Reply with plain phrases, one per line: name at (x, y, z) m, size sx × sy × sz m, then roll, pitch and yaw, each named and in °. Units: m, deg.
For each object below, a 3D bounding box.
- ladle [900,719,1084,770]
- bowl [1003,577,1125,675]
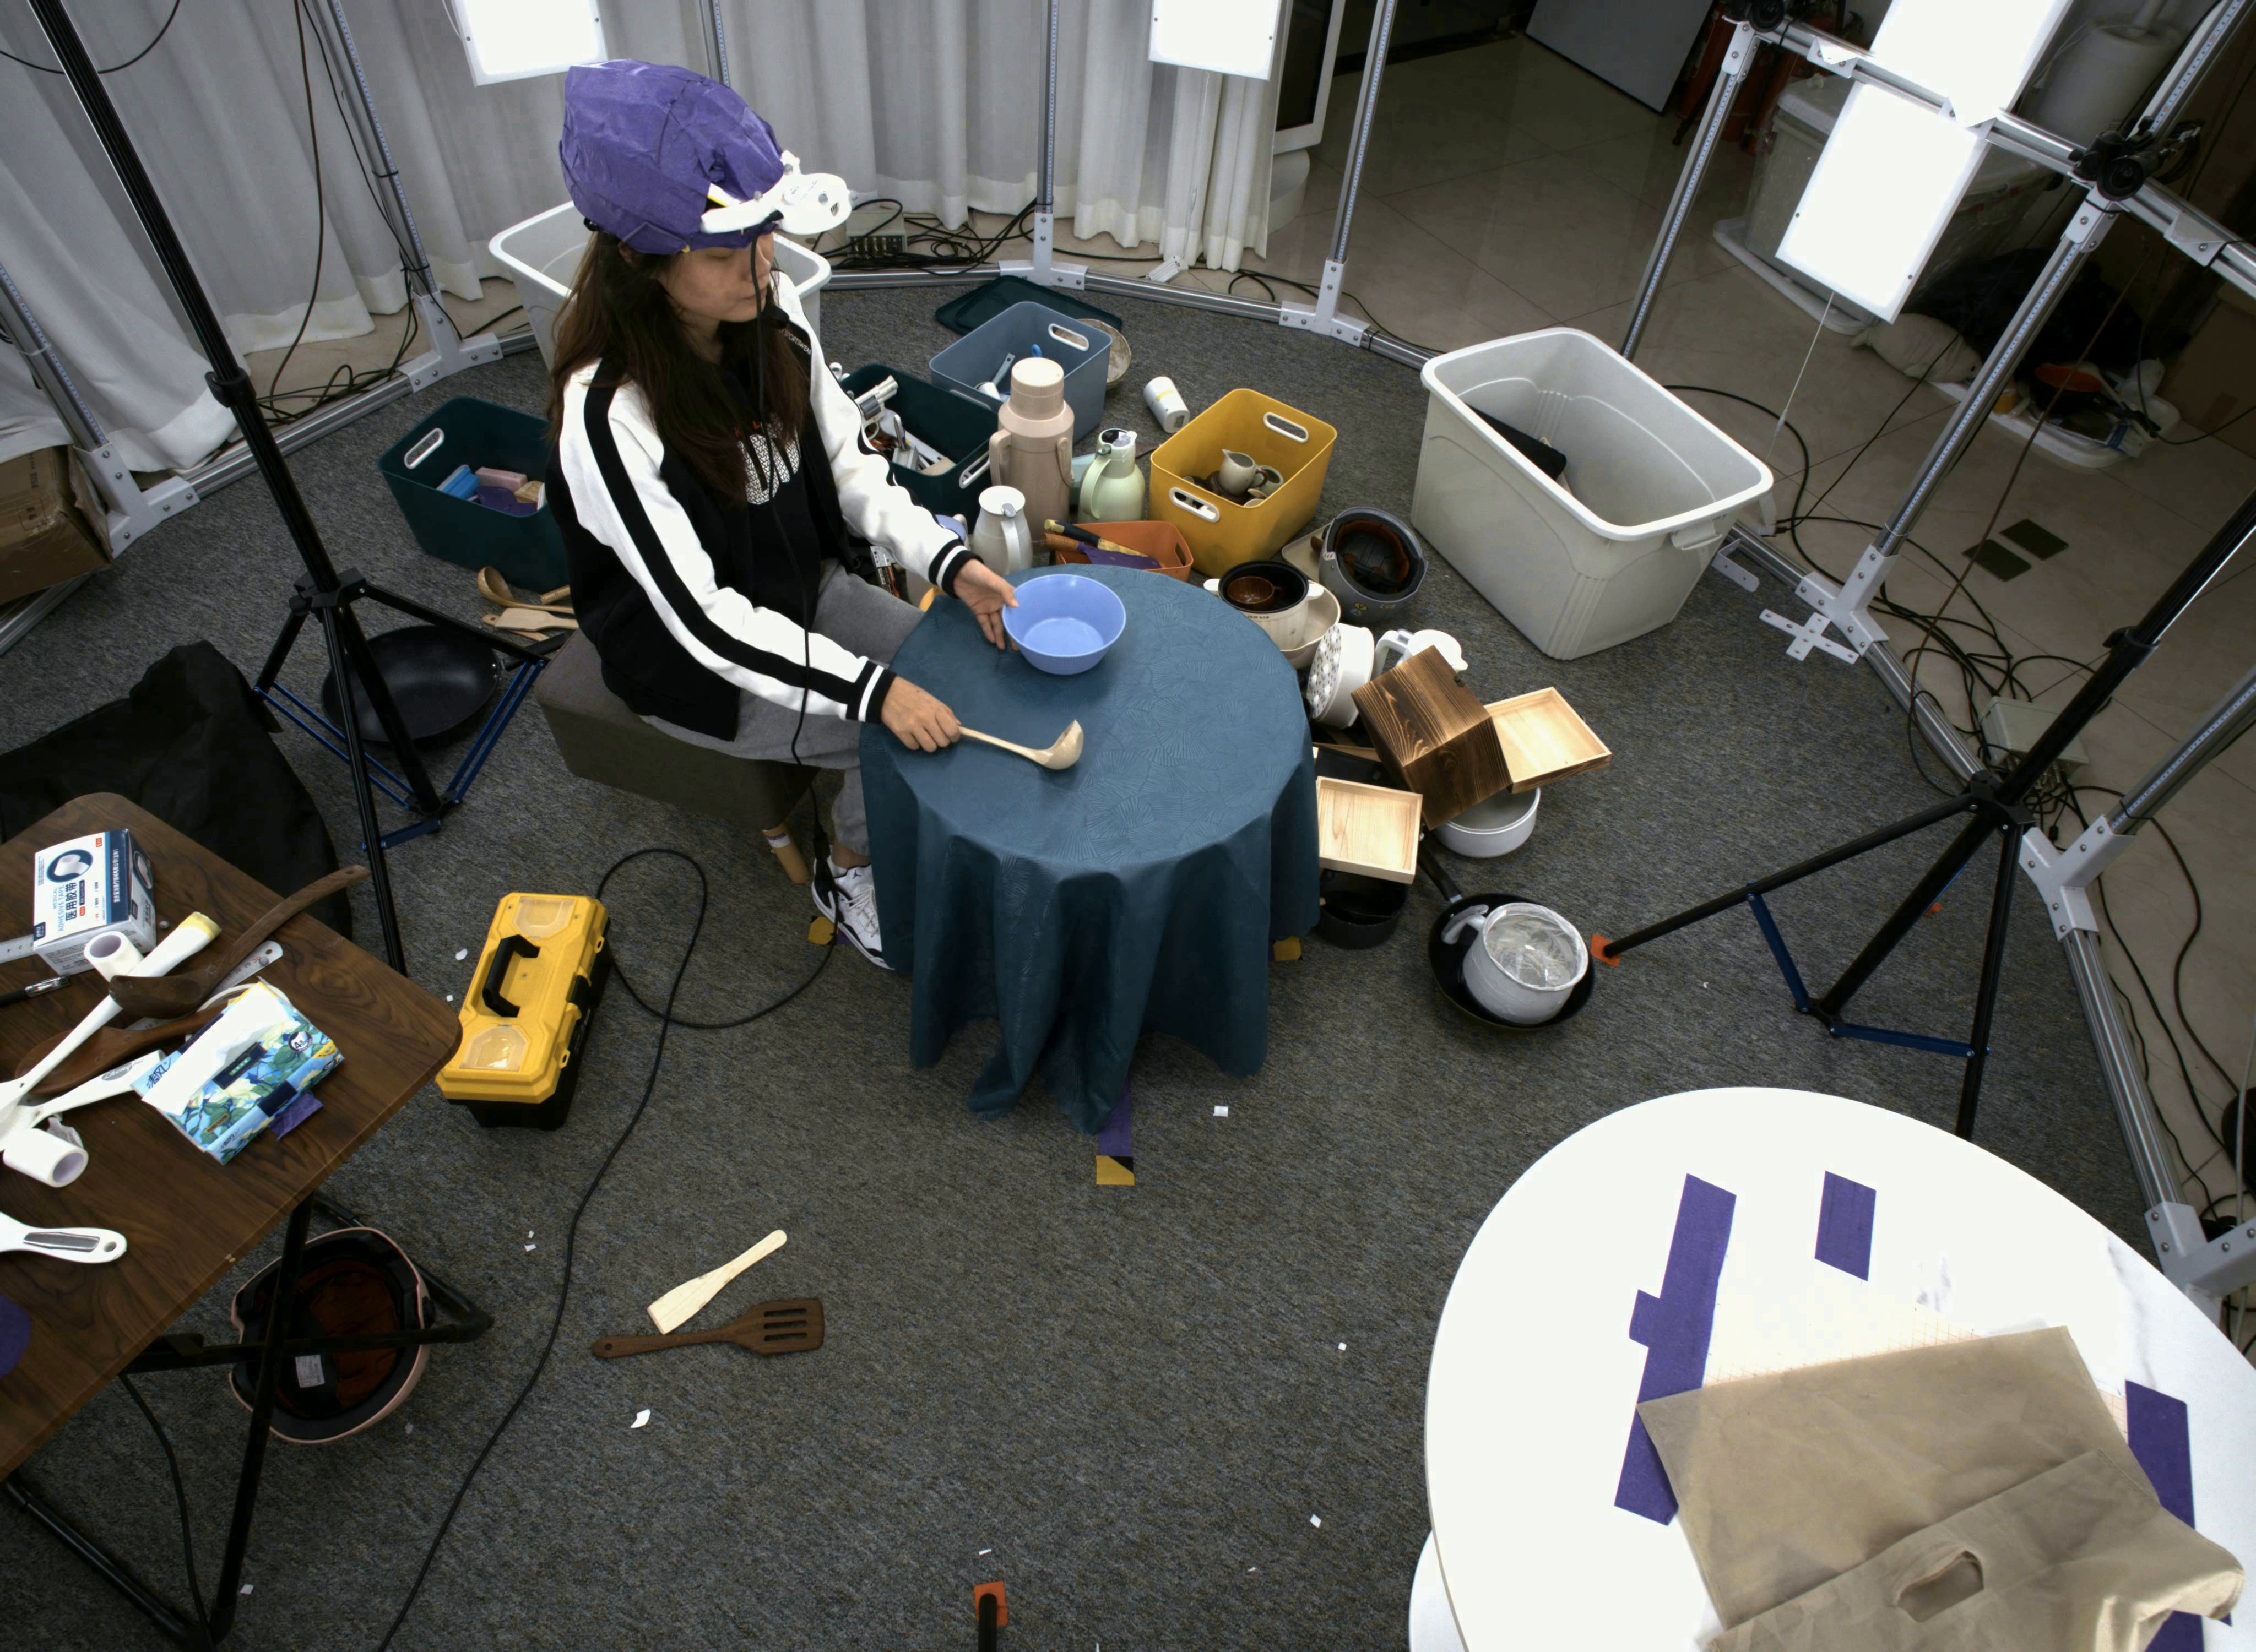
ladle at (-0.185, -0.135, 1.725) m, size 0.255 × 0.071 × 0.073 m, roll 14°, pitch 42°, yaw 7°
bowl at (-0.093, -0.281, 1.862) m, size 0.176 × 0.068 × 0.180 m, roll 2°, pitch 48°, yaw -3°
